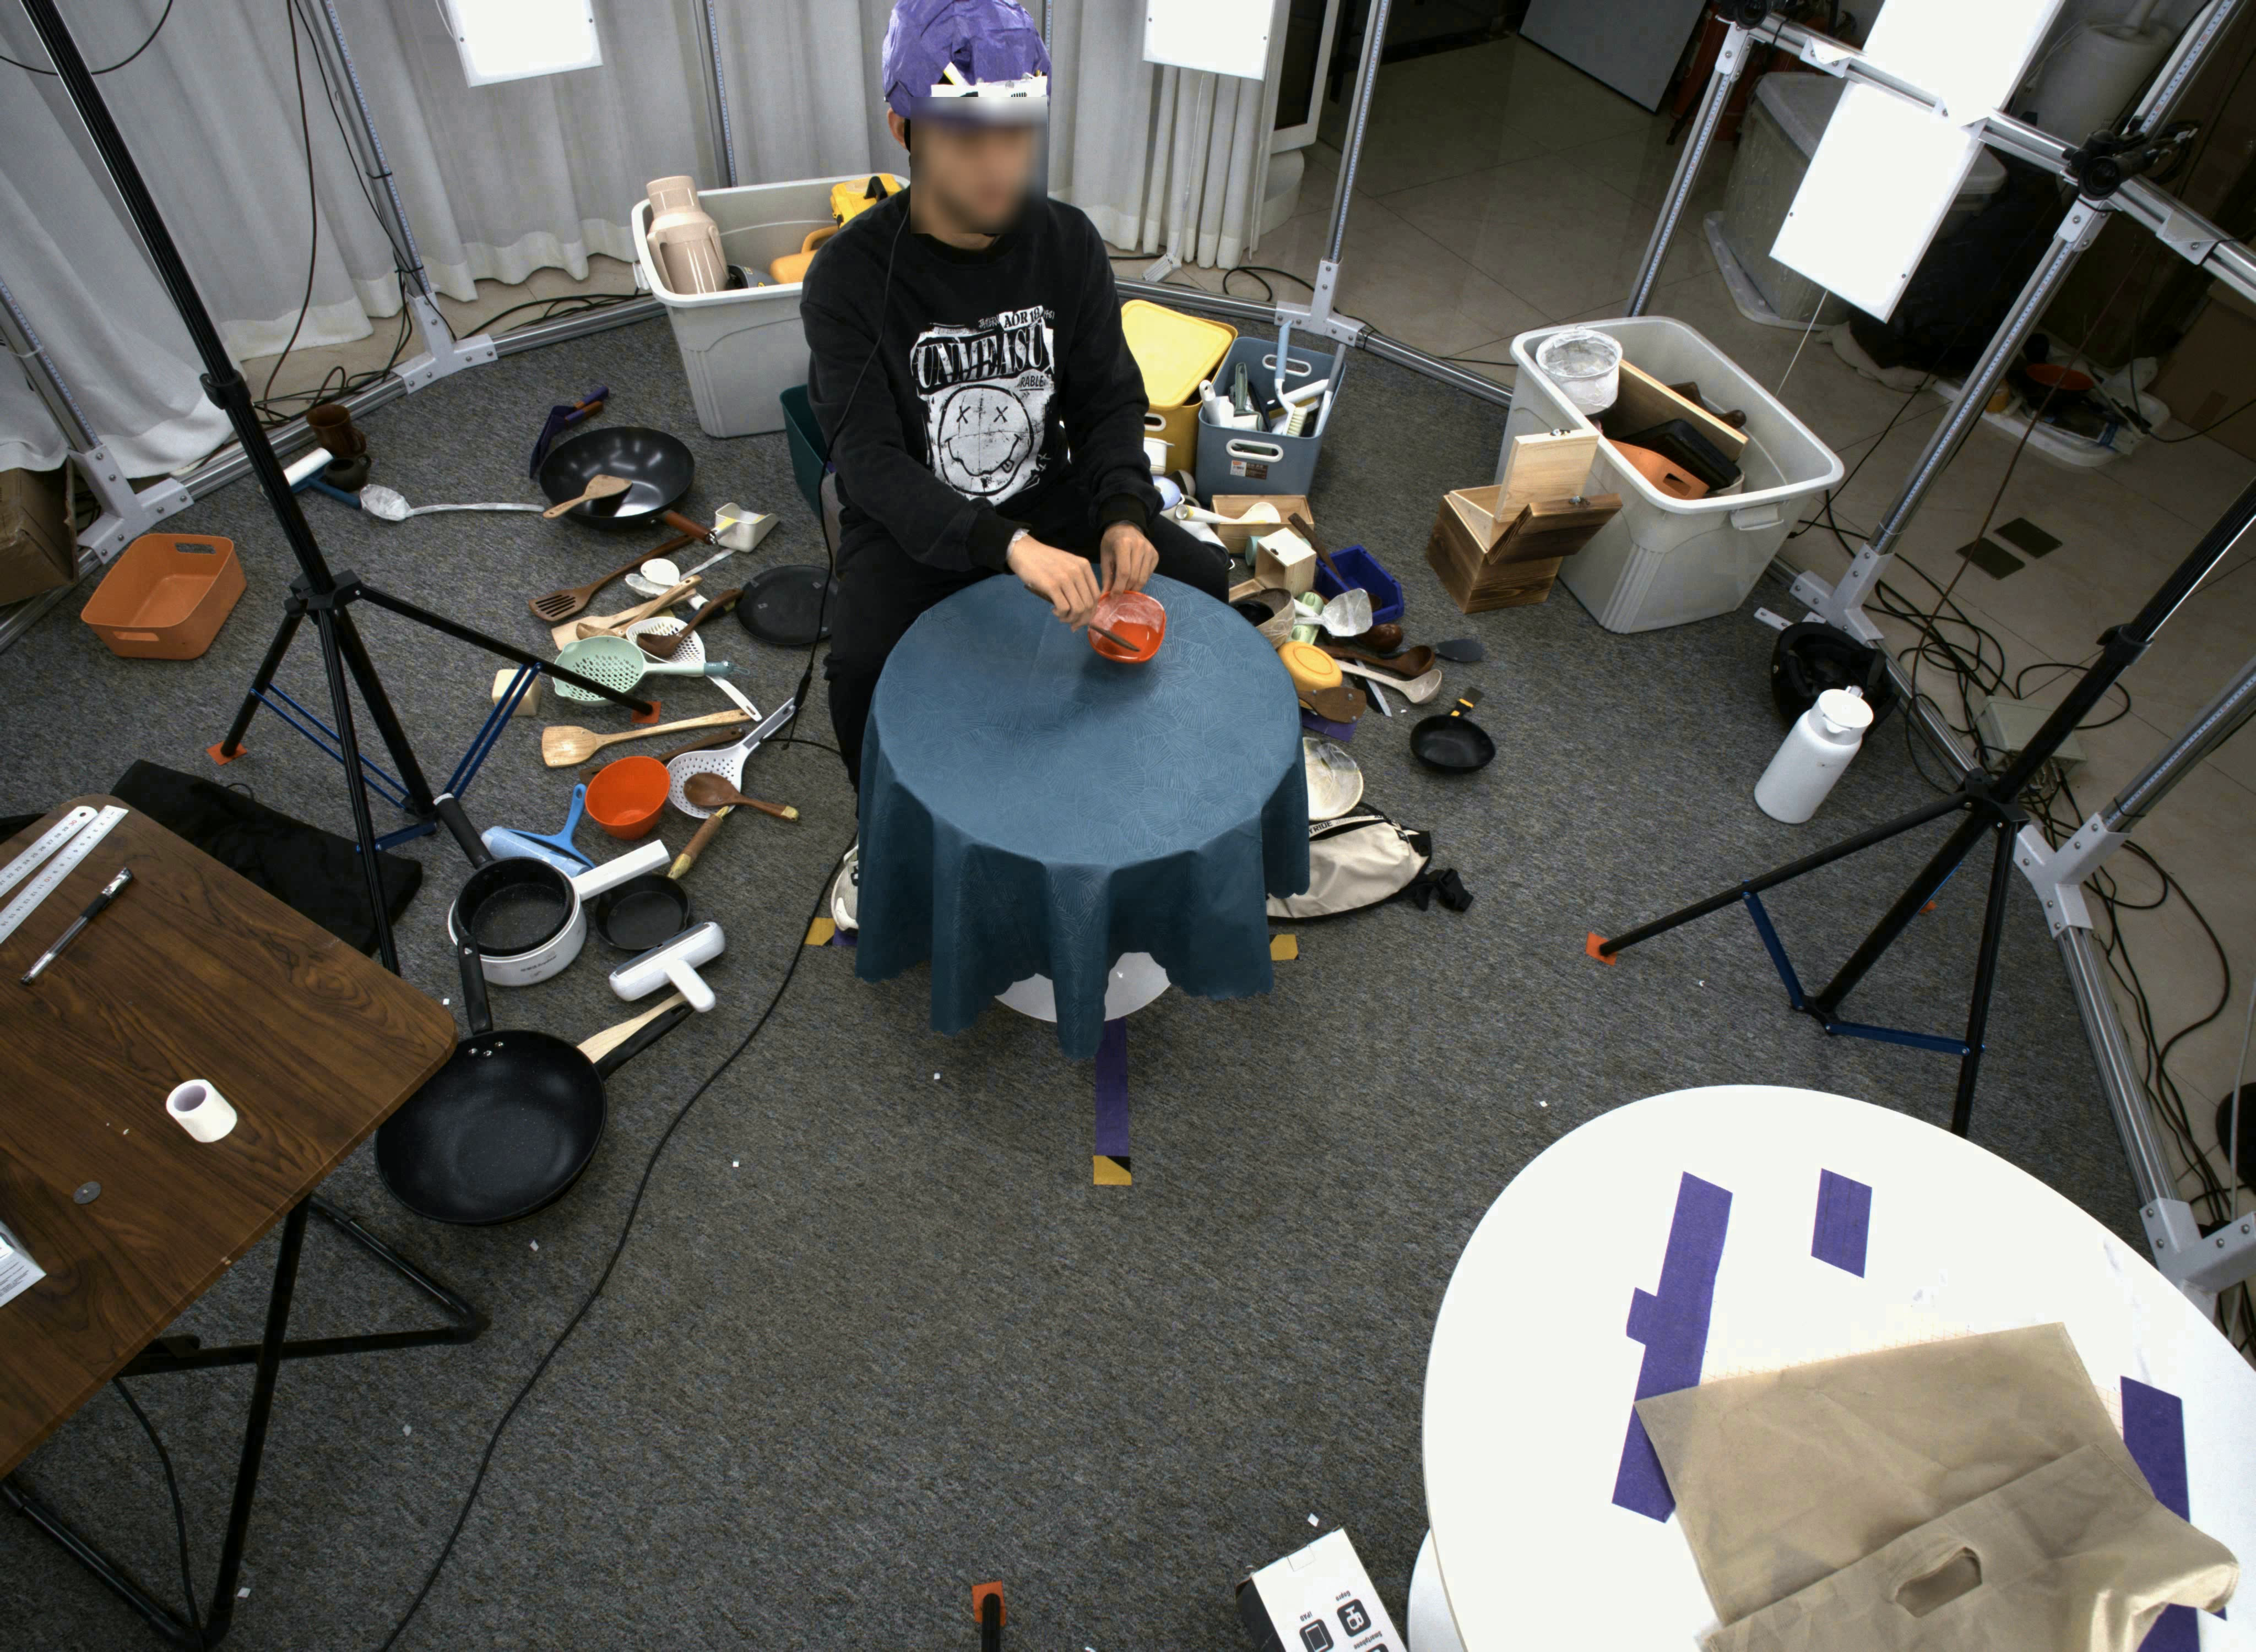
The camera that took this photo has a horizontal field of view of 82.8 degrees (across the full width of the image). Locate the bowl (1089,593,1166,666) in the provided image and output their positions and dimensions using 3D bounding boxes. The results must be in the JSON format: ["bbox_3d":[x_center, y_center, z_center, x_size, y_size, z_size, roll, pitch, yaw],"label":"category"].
[{"bbox_3d":[-0.002,-0.279,1.873,0.119,0.050,0.121,1,70,-2],"label":"bowl"}]

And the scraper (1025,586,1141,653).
[{"bbox_3d":[-0.066,-0.286,1.779,0.208,0.011,0.077,23,9,-47],"label":"scraper"}]
